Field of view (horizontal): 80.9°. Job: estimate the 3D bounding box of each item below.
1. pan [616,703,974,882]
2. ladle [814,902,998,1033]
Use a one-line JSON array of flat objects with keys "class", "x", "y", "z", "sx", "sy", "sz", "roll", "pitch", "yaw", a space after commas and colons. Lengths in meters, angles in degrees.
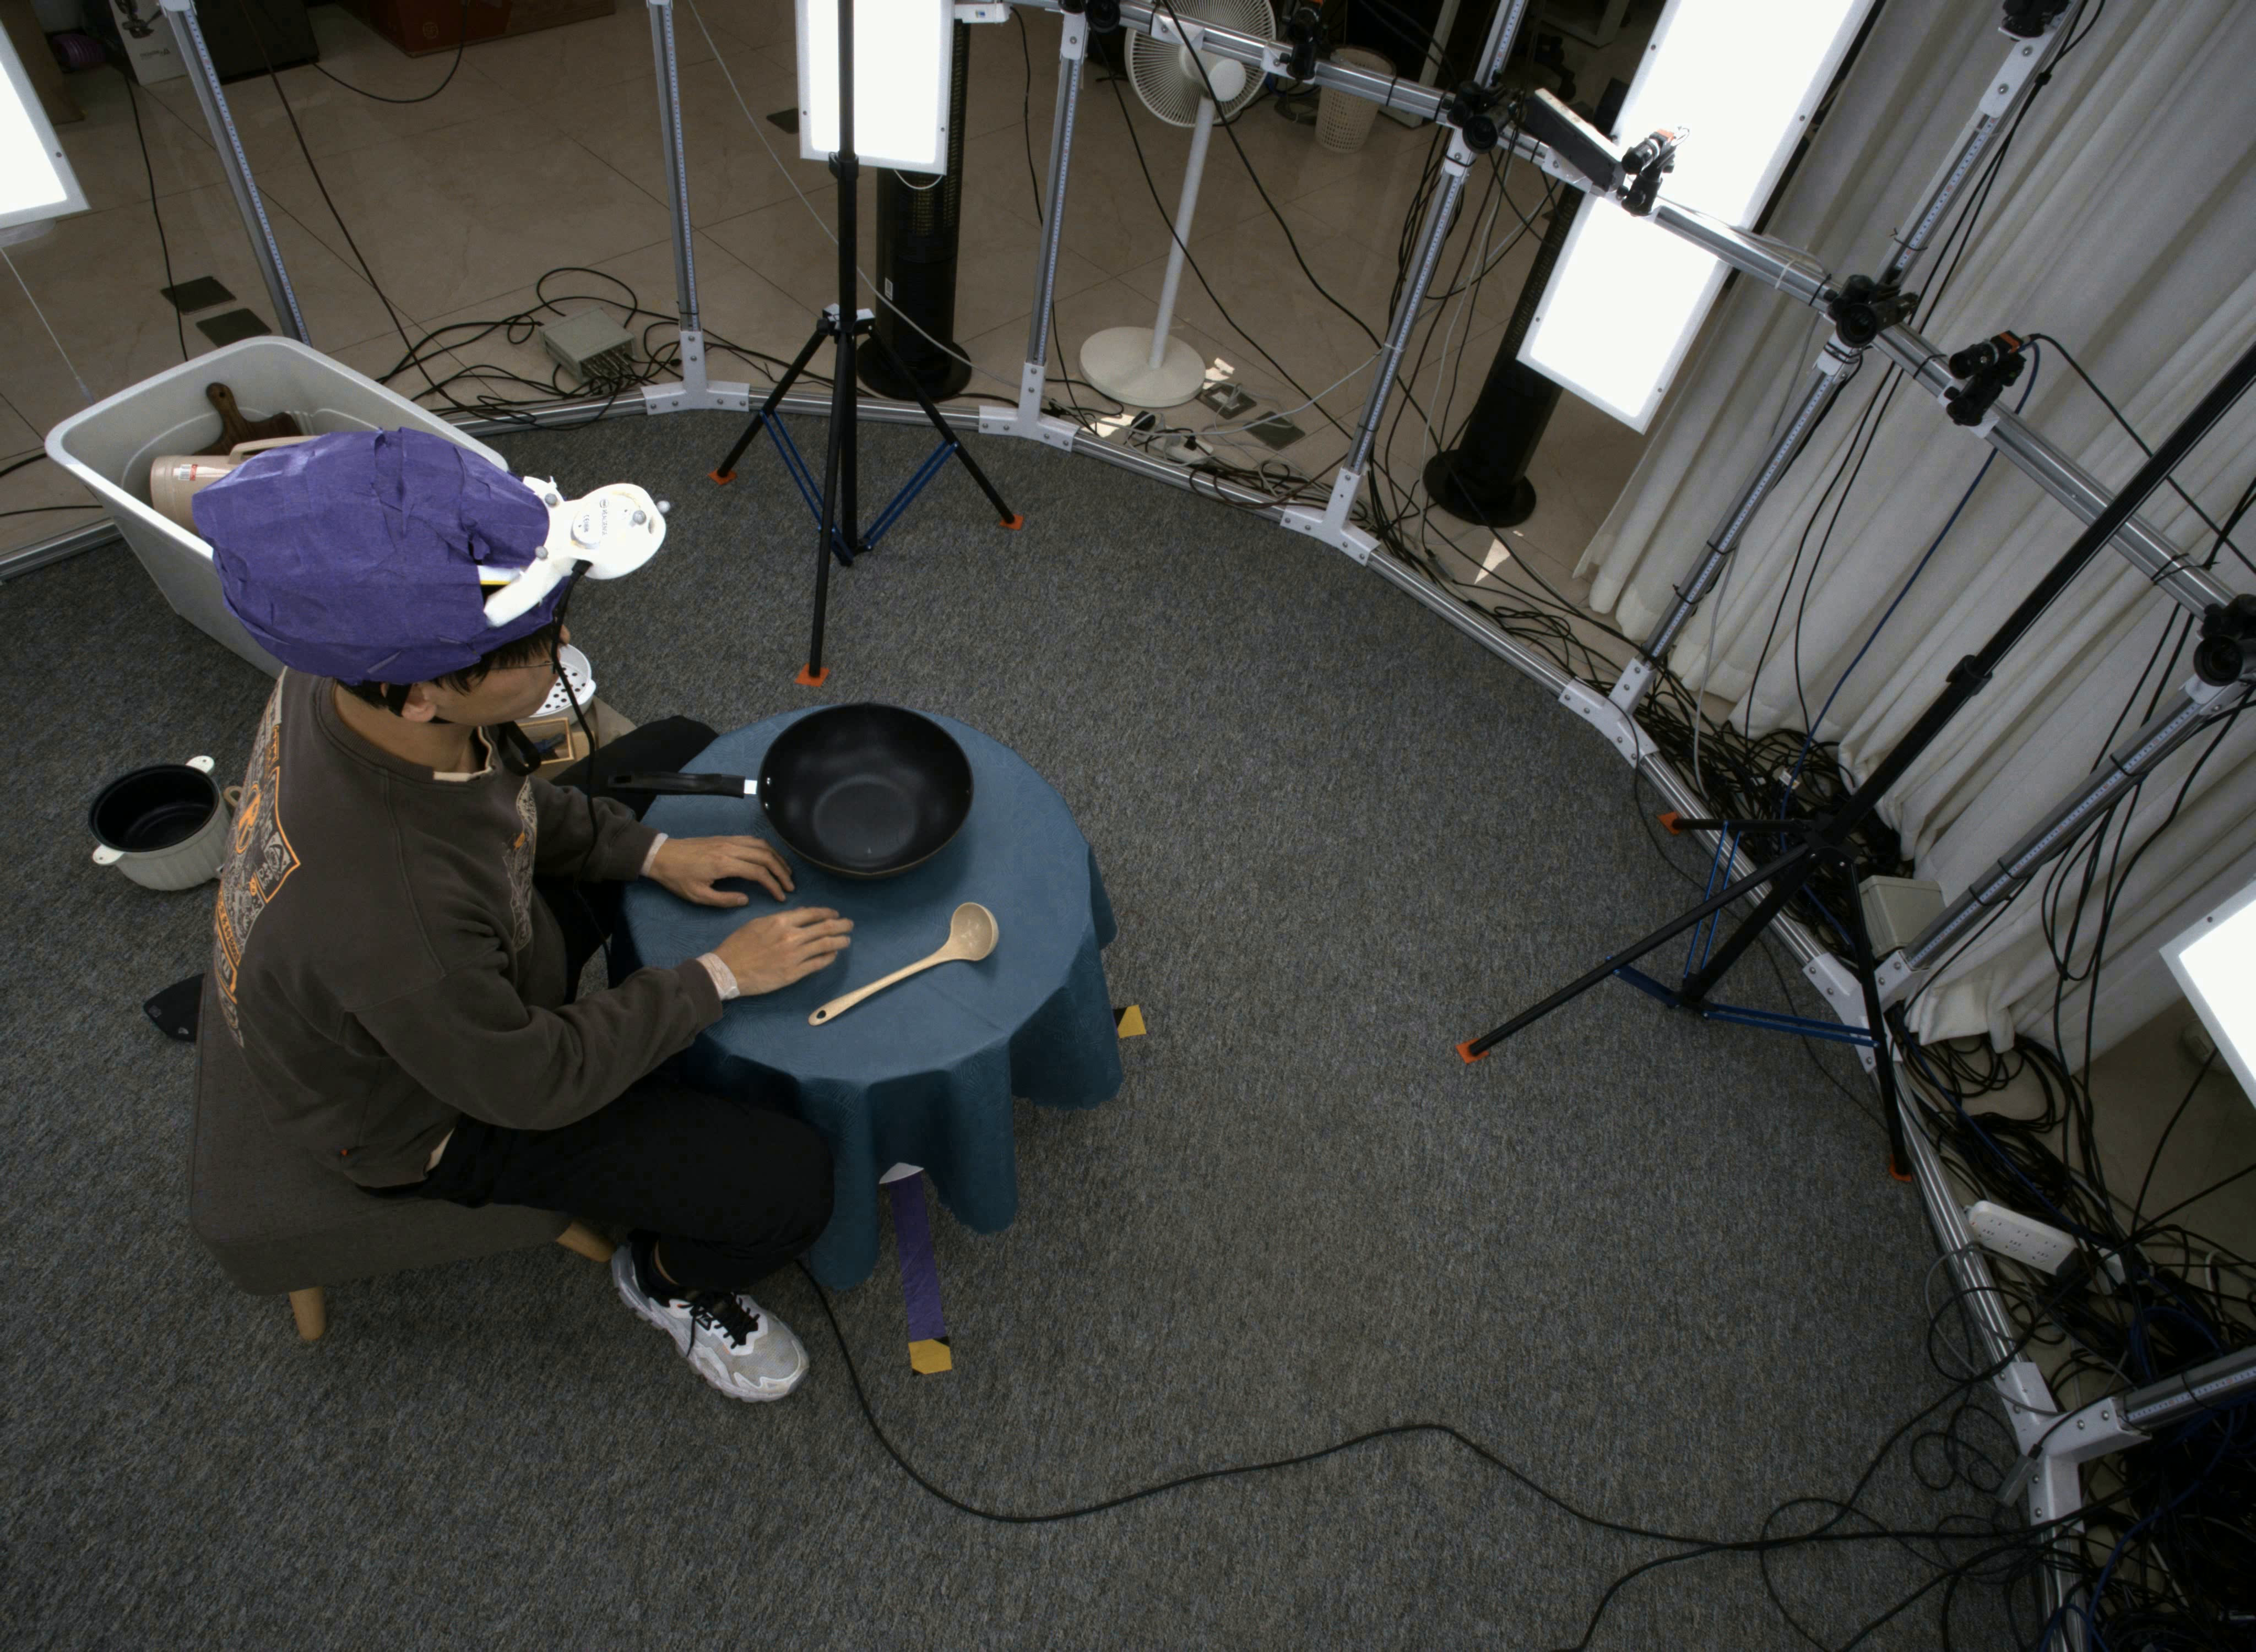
[{"class": "pan", "x": -0.434, "y": -0.031, "z": 1.706, "sx": 0.463, "sy": 0.089, "sz": 0.282, "roll": 0, "pitch": 55, "yaw": -12}, {"class": "ladle", "x": -0.273, "y": 0.172, "z": 1.602, "sx": 0.255, "sy": 0.073, "sz": 0.071, "roll": -29, "pitch": 73, "yaw": -30}]
